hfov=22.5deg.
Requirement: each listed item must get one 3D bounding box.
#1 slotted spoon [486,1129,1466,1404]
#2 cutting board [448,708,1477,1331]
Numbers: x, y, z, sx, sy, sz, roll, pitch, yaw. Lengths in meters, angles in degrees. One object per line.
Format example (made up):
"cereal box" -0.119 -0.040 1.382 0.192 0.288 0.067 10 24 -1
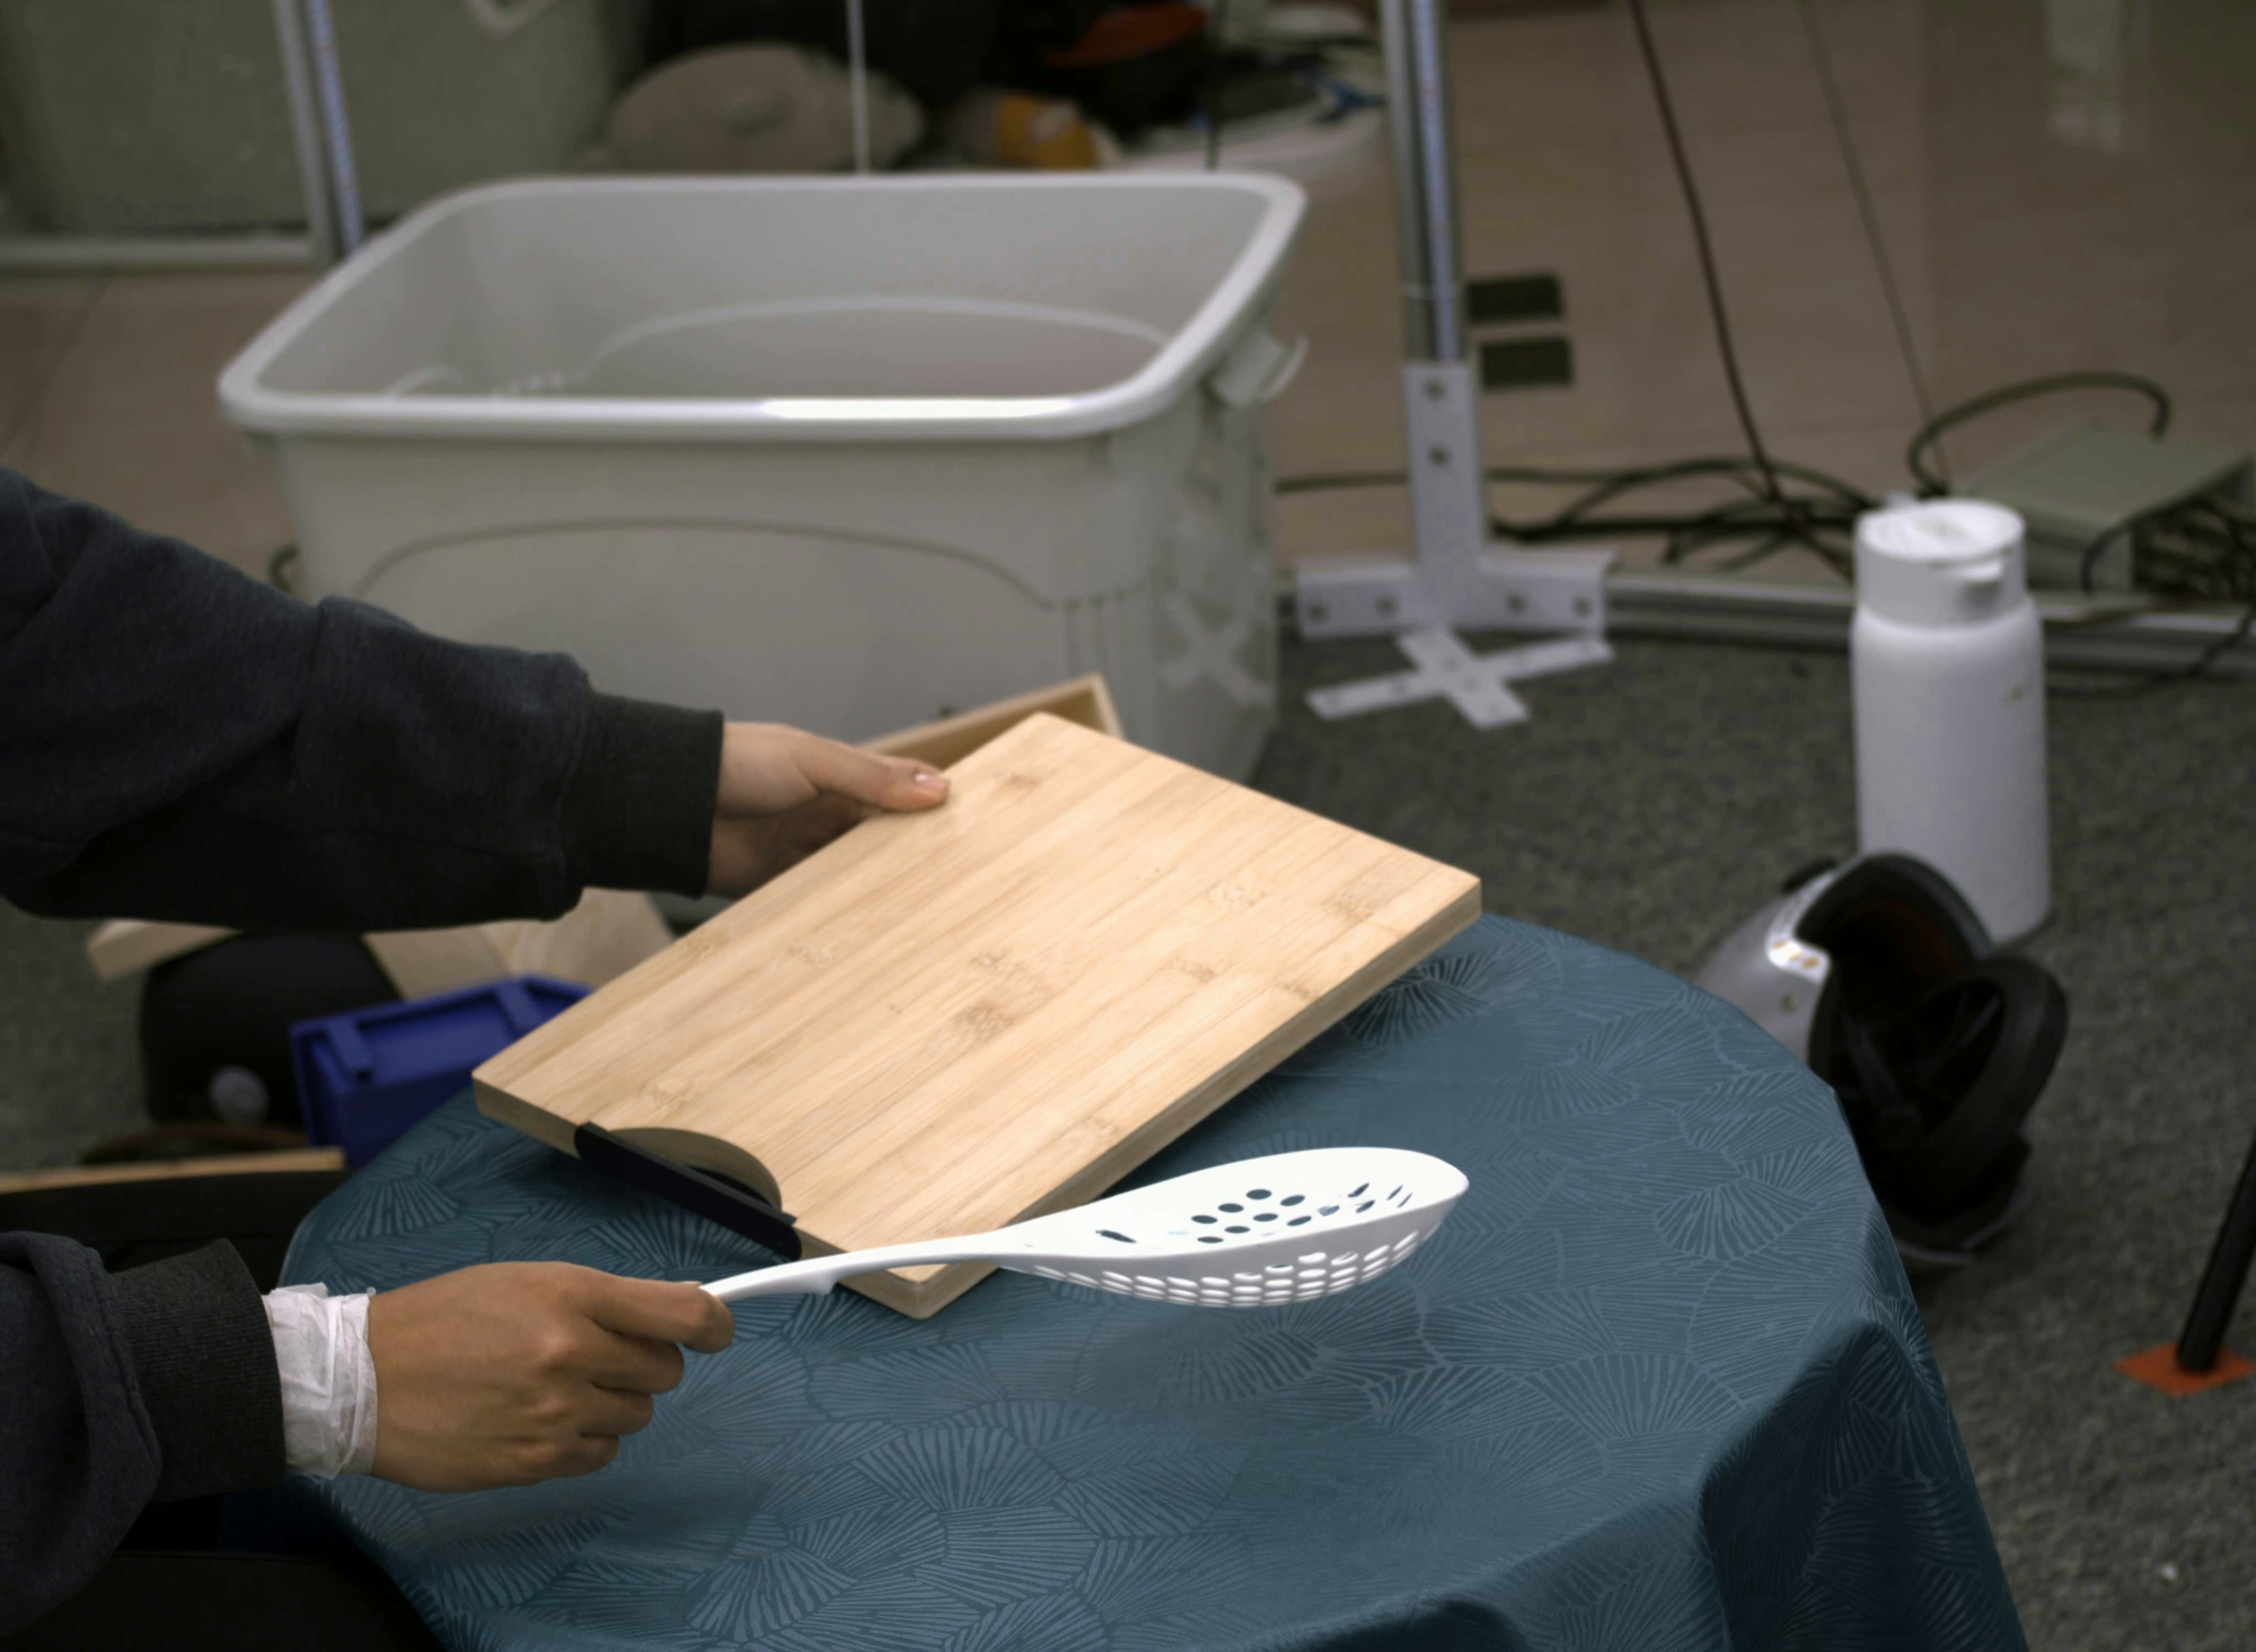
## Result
"slotted spoon" -0.052 0.155 1.976 0.347 0.050 0.136 -6 9 -9
"cutting board" -0.060 0.068 2.239 0.249 0.024 0.345 21 40 35
